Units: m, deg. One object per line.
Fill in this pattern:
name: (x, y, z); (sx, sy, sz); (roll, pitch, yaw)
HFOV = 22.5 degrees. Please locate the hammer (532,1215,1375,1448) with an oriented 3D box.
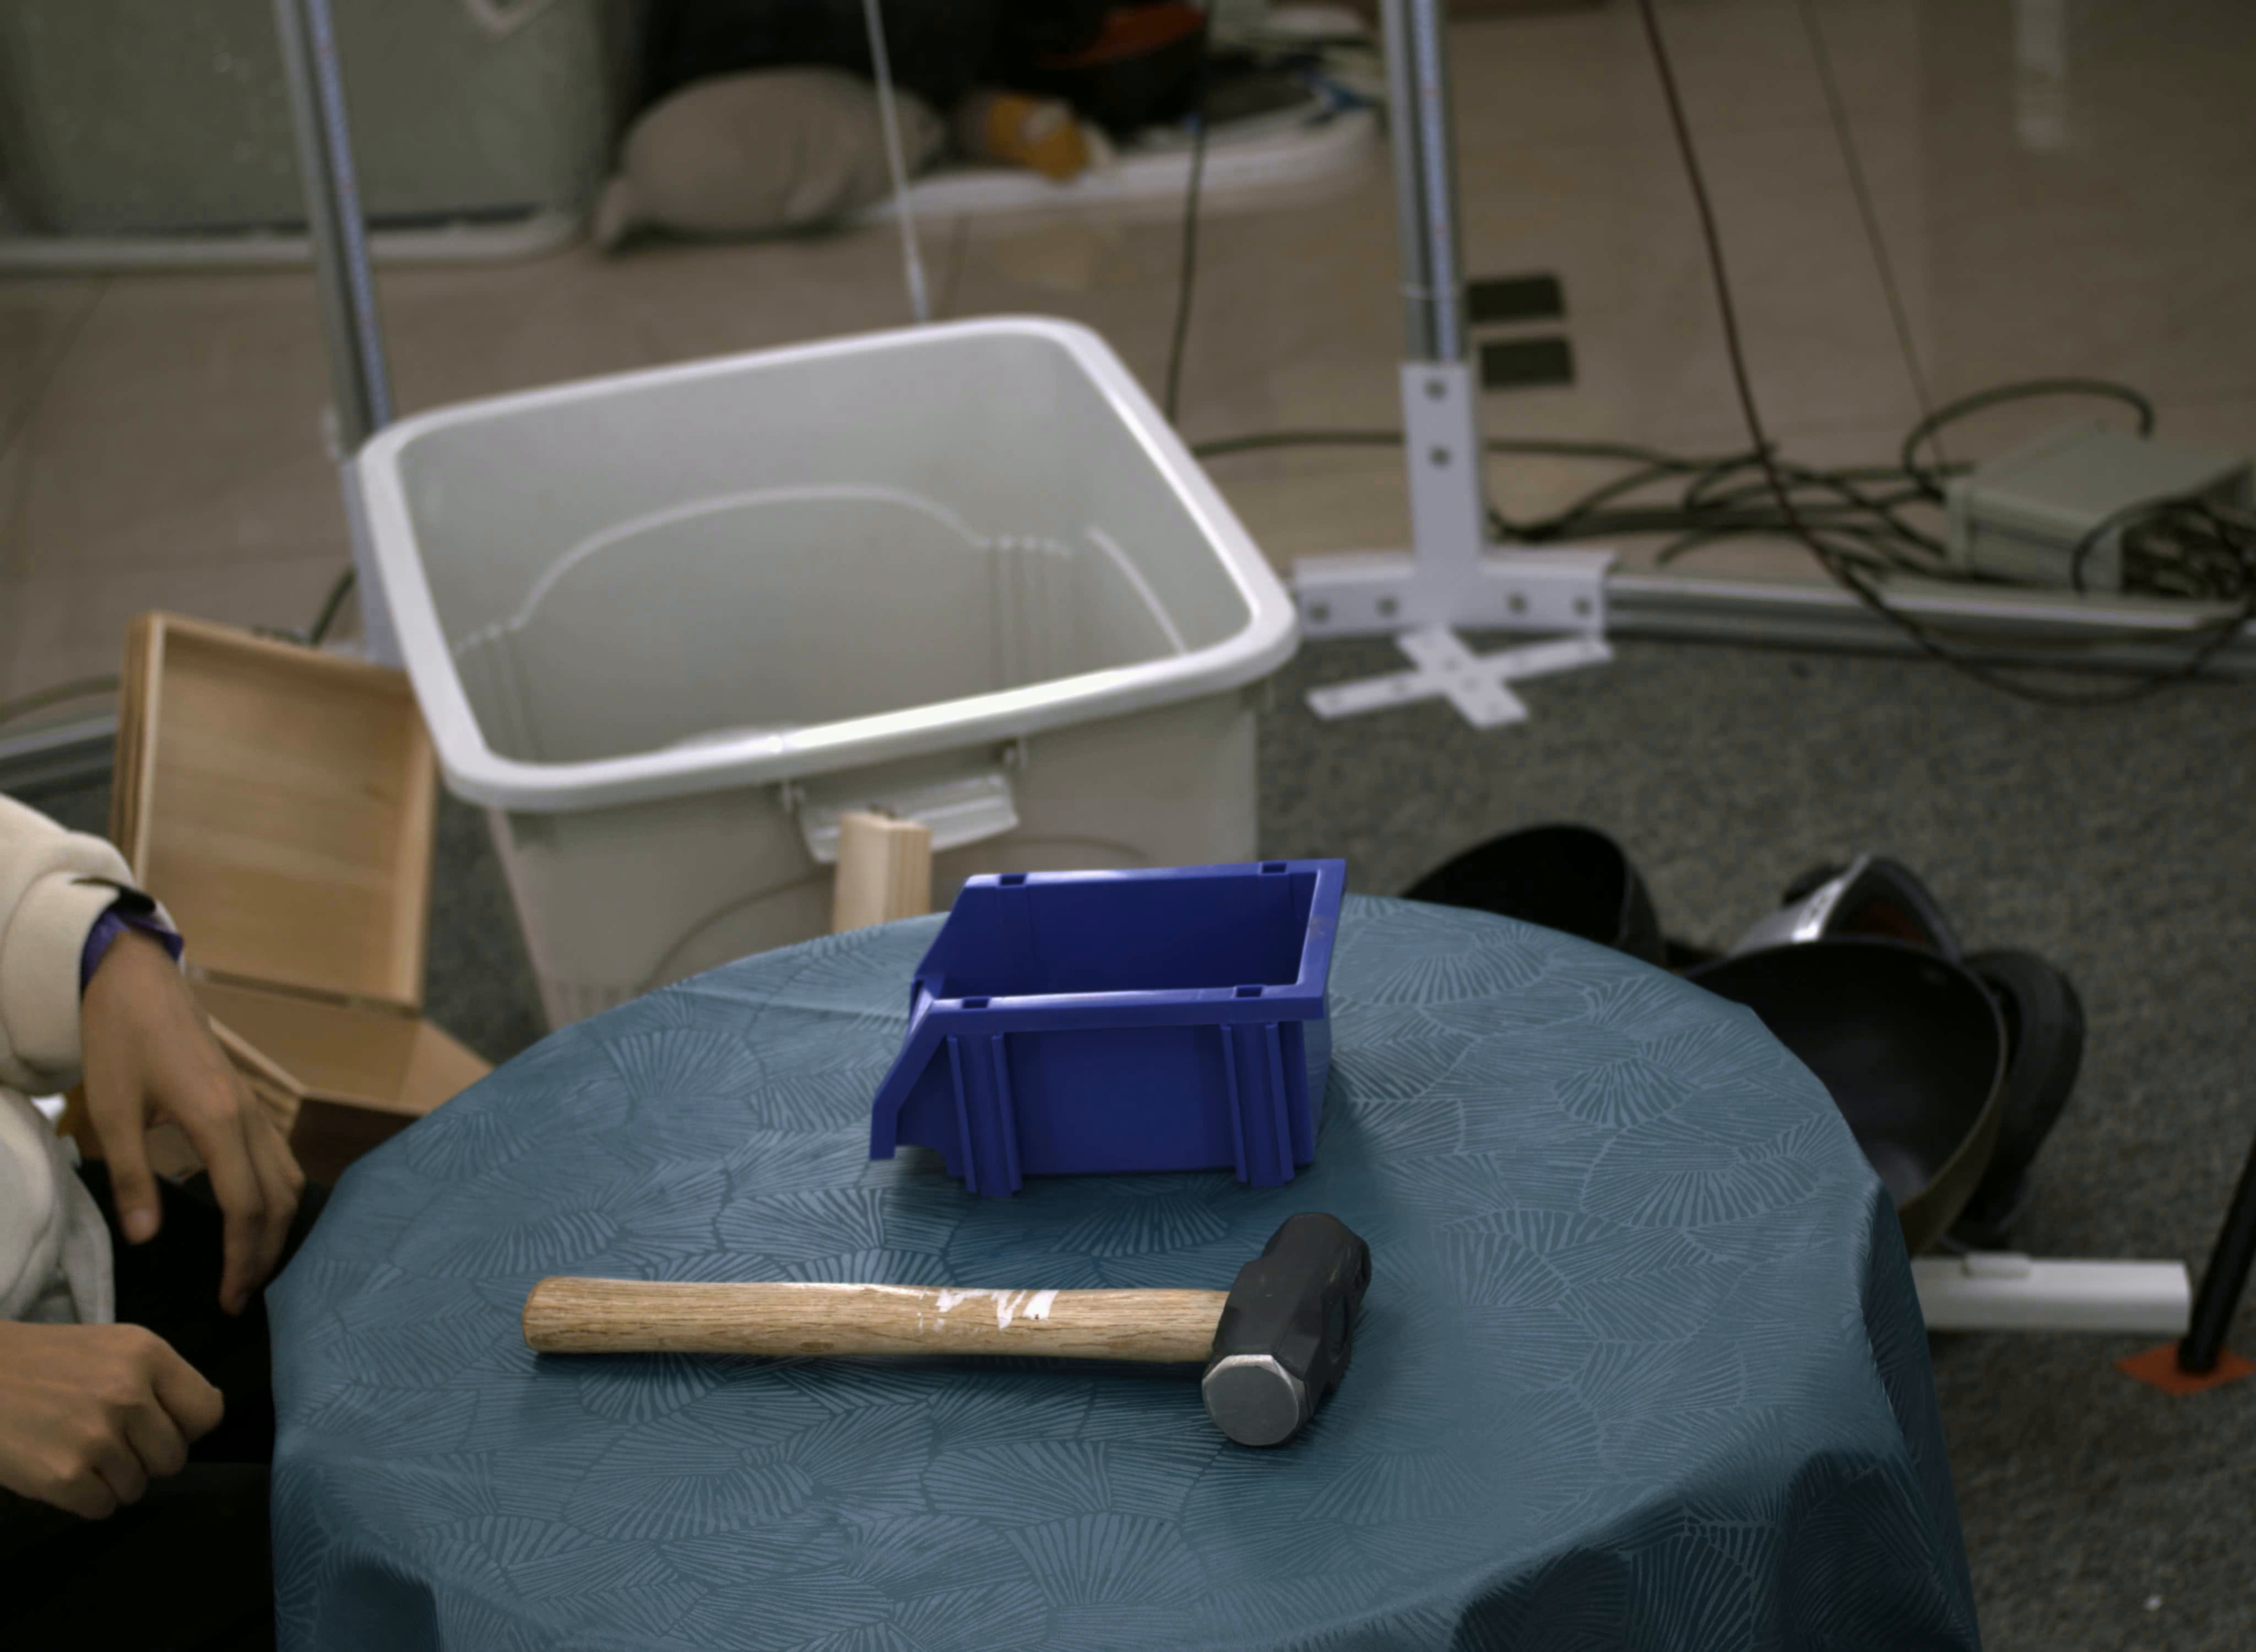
hammer: (-0.070, 0.176, 2.046); (0.304, 0.039, 0.106); (1, 26, 18)

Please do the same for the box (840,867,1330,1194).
box: (-0.015, 0.079, 2.184); (0.179, 0.083, 0.122); (0, 26, 8)
